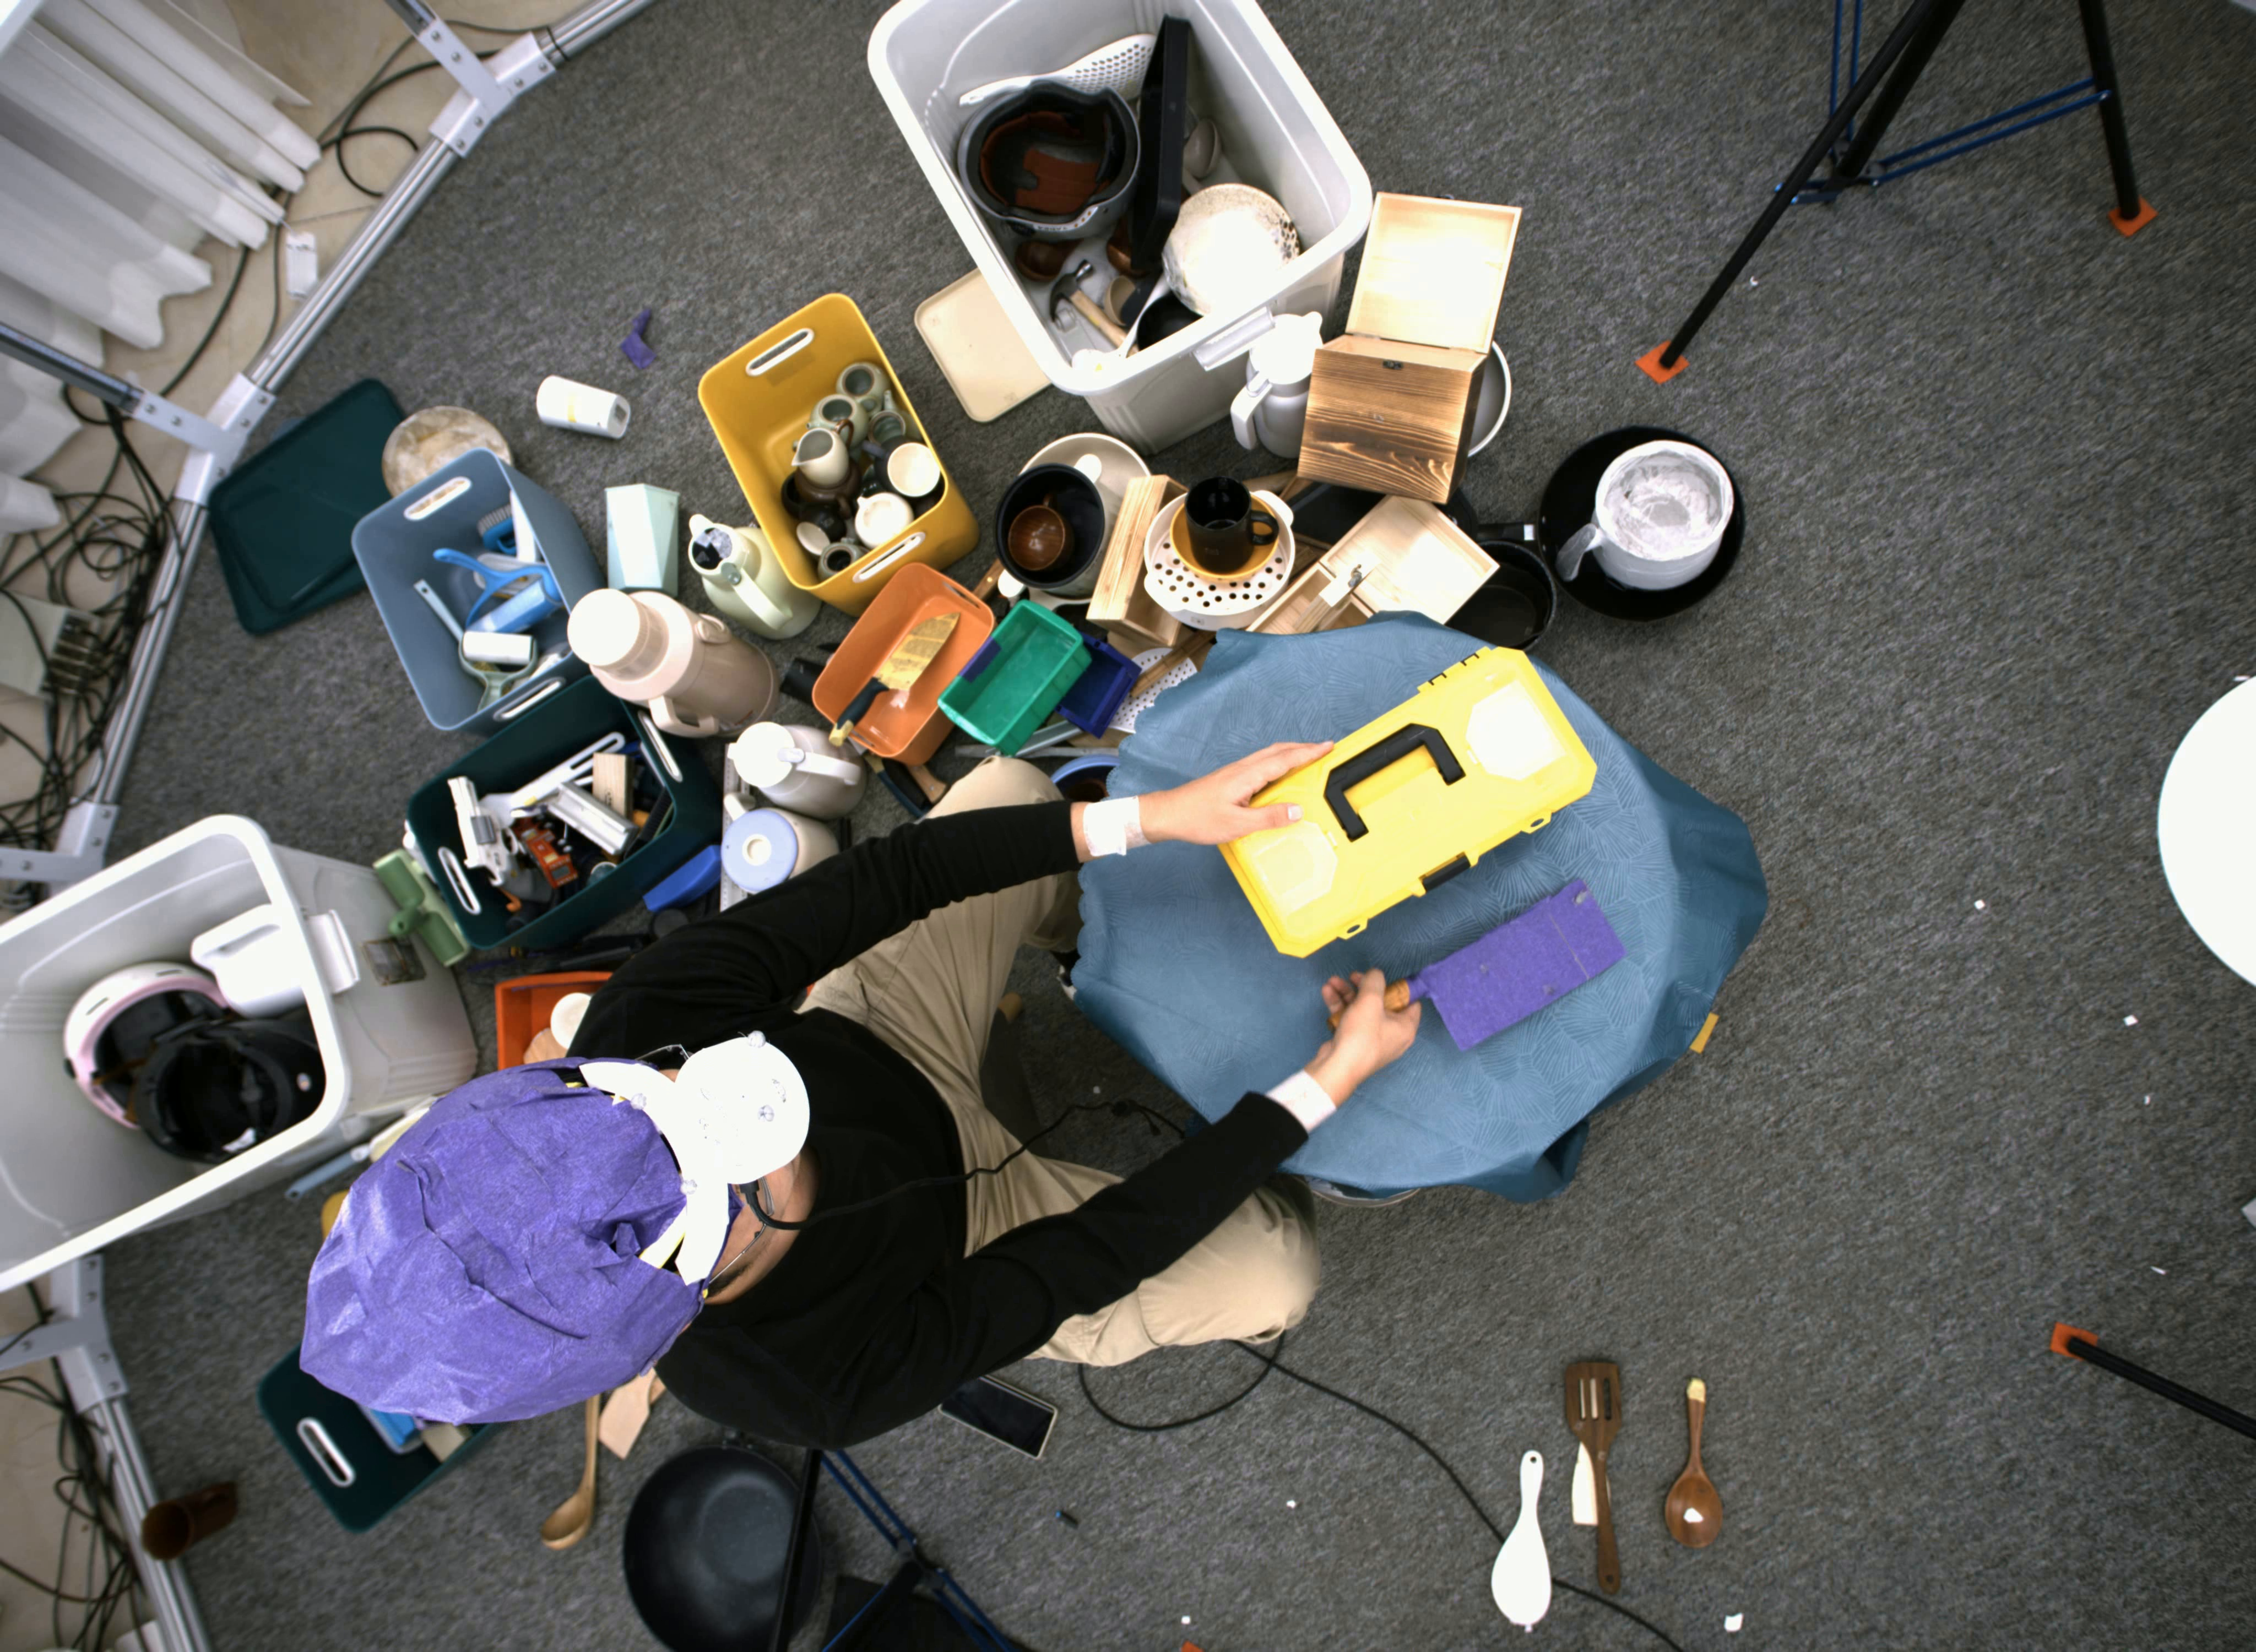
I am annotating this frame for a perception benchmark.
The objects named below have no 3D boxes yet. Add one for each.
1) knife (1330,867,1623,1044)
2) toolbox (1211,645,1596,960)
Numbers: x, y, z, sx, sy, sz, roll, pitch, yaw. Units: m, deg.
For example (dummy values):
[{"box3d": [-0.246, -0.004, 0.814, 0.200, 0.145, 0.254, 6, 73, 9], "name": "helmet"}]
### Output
[{"box3d": [0.358, 0.155, 1.392, 0.314, 0.032, 0.103, -29, 83, -5], "name": "knife"}, {"box3d": [0.273, -0.018, 1.377, 0.353, 0.173, 0.180, -30, 80, 8], "name": "toolbox"}]
